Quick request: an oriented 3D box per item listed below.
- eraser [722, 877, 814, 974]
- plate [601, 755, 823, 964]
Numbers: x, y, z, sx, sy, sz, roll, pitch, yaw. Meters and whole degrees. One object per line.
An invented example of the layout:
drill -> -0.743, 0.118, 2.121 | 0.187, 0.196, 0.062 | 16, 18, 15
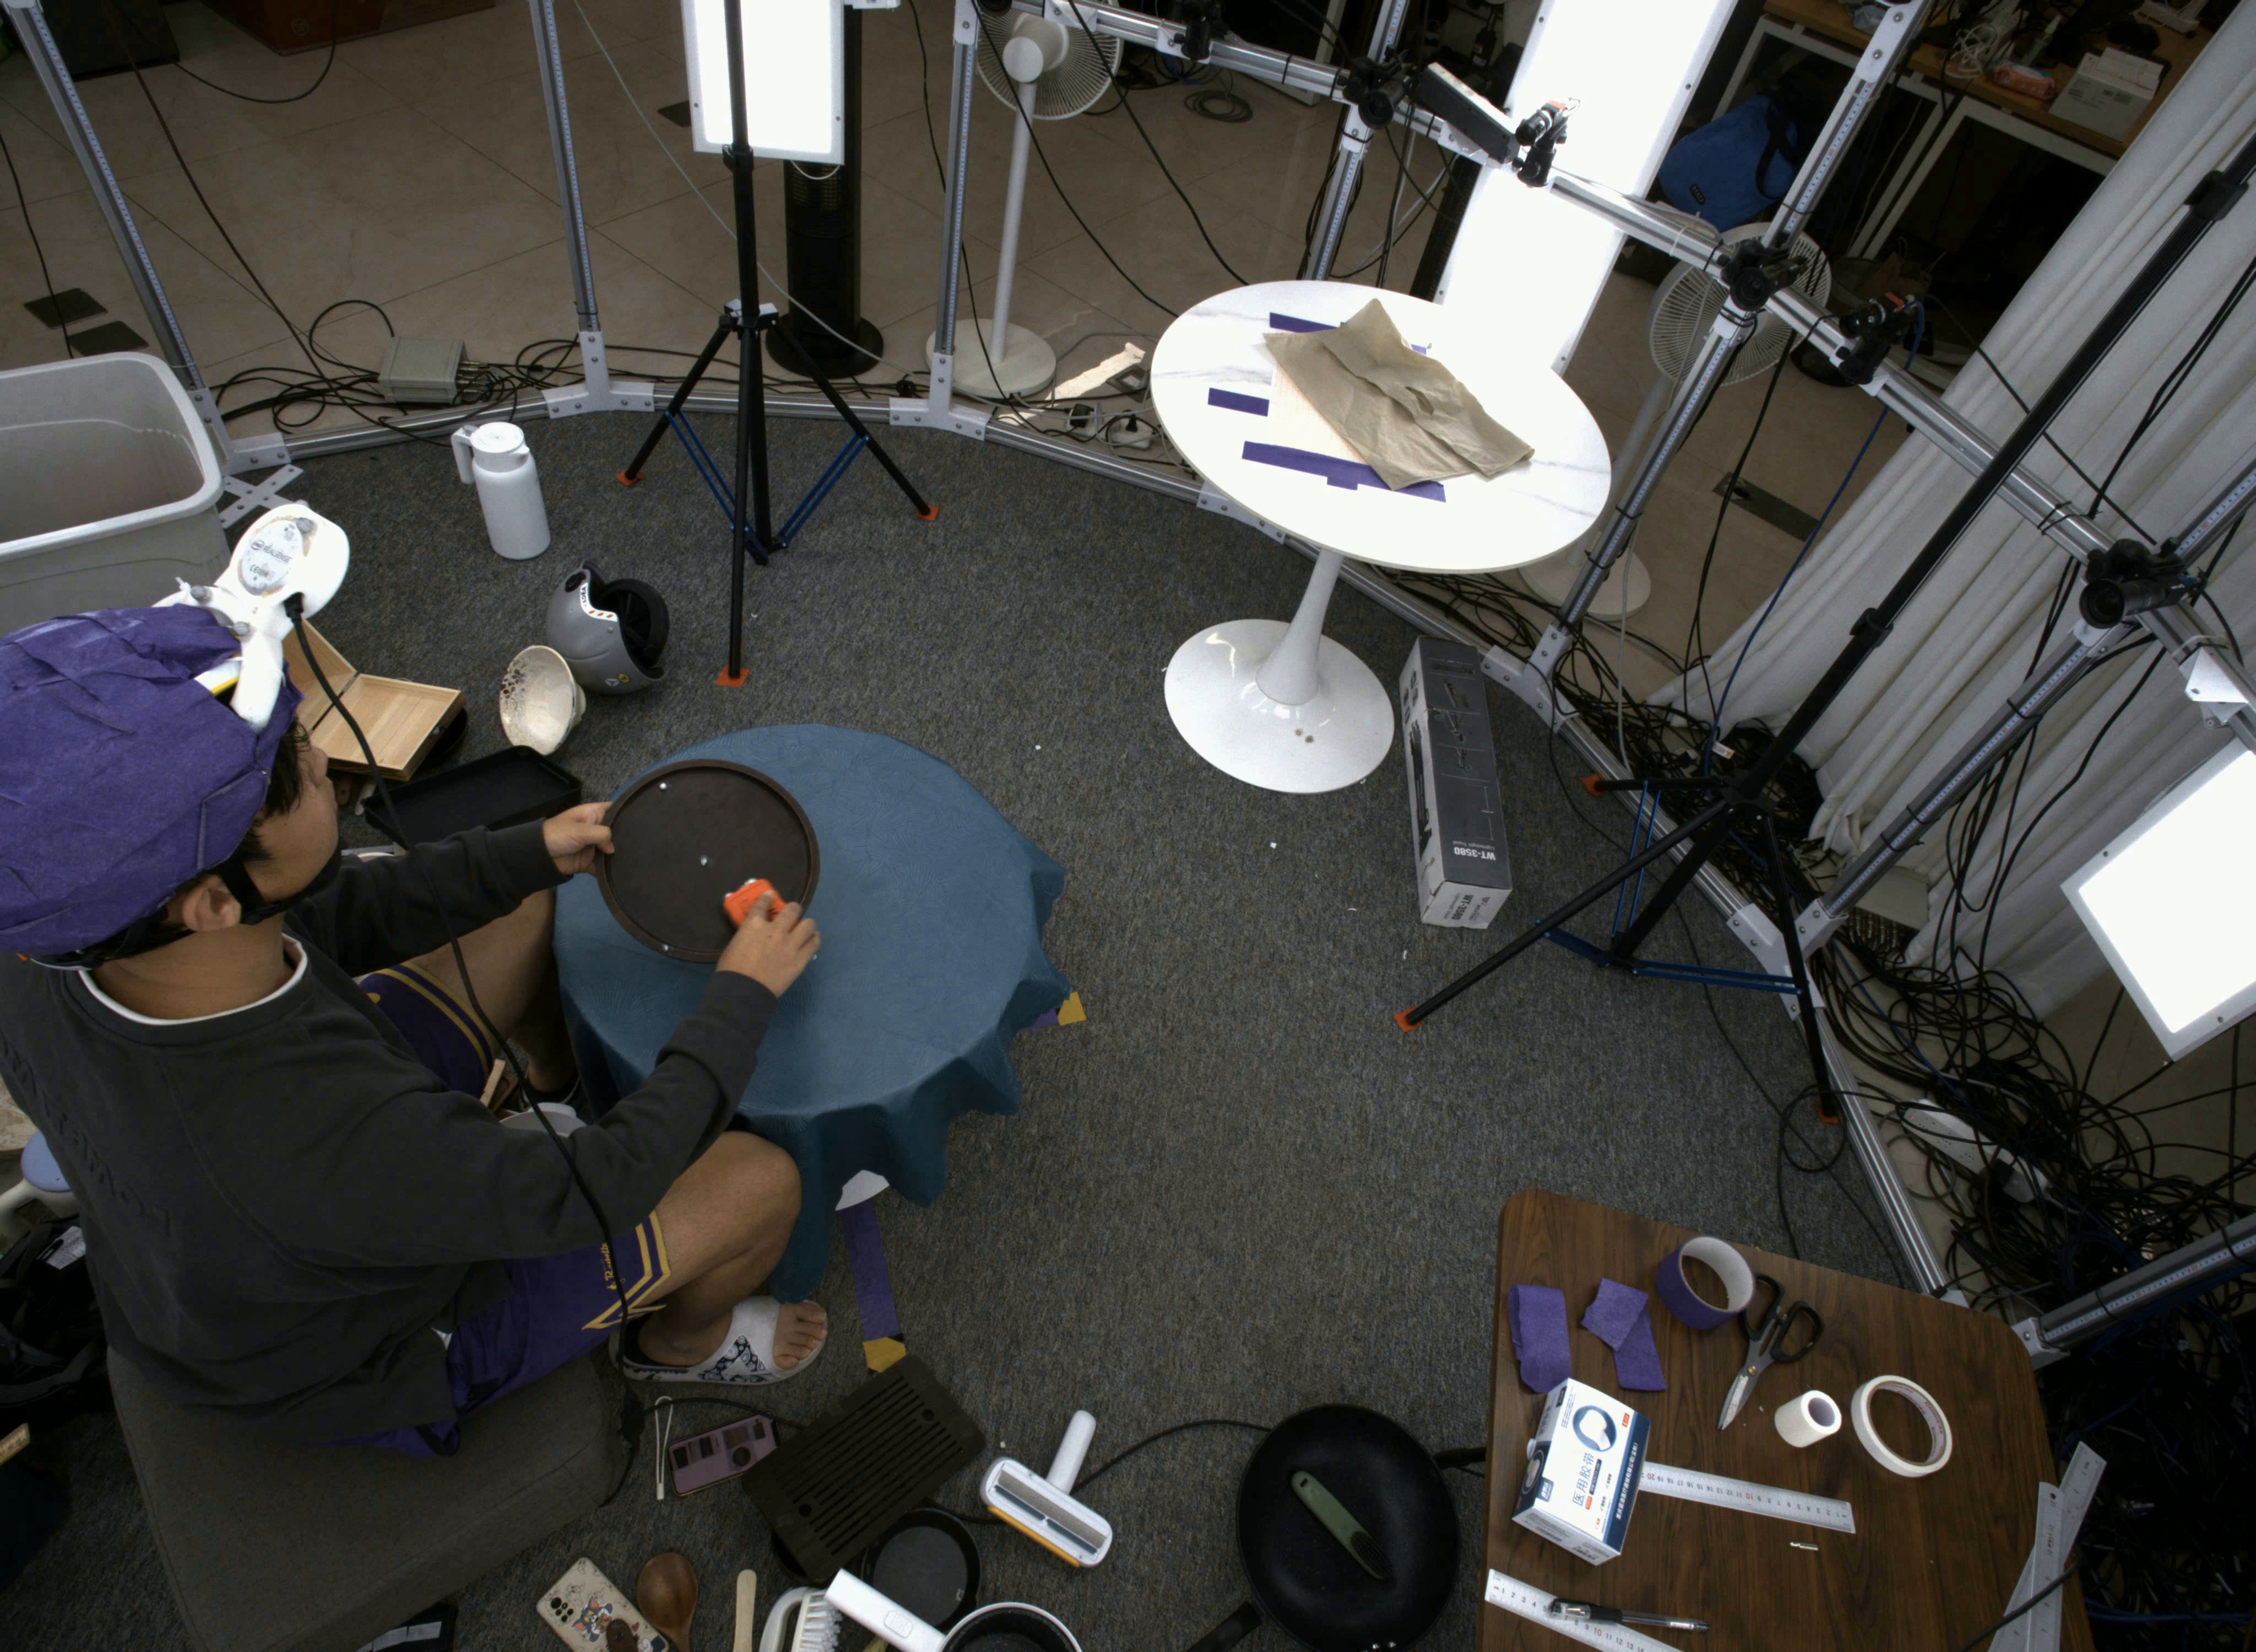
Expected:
eraser -> -0.409, 0.110, 1.469 | 0.059, 0.023, 0.107 | -34, 77, -35
plate -> -0.482, 0.036, 1.495 | 0.257, 0.029, 0.253 | 10, 67, -21
